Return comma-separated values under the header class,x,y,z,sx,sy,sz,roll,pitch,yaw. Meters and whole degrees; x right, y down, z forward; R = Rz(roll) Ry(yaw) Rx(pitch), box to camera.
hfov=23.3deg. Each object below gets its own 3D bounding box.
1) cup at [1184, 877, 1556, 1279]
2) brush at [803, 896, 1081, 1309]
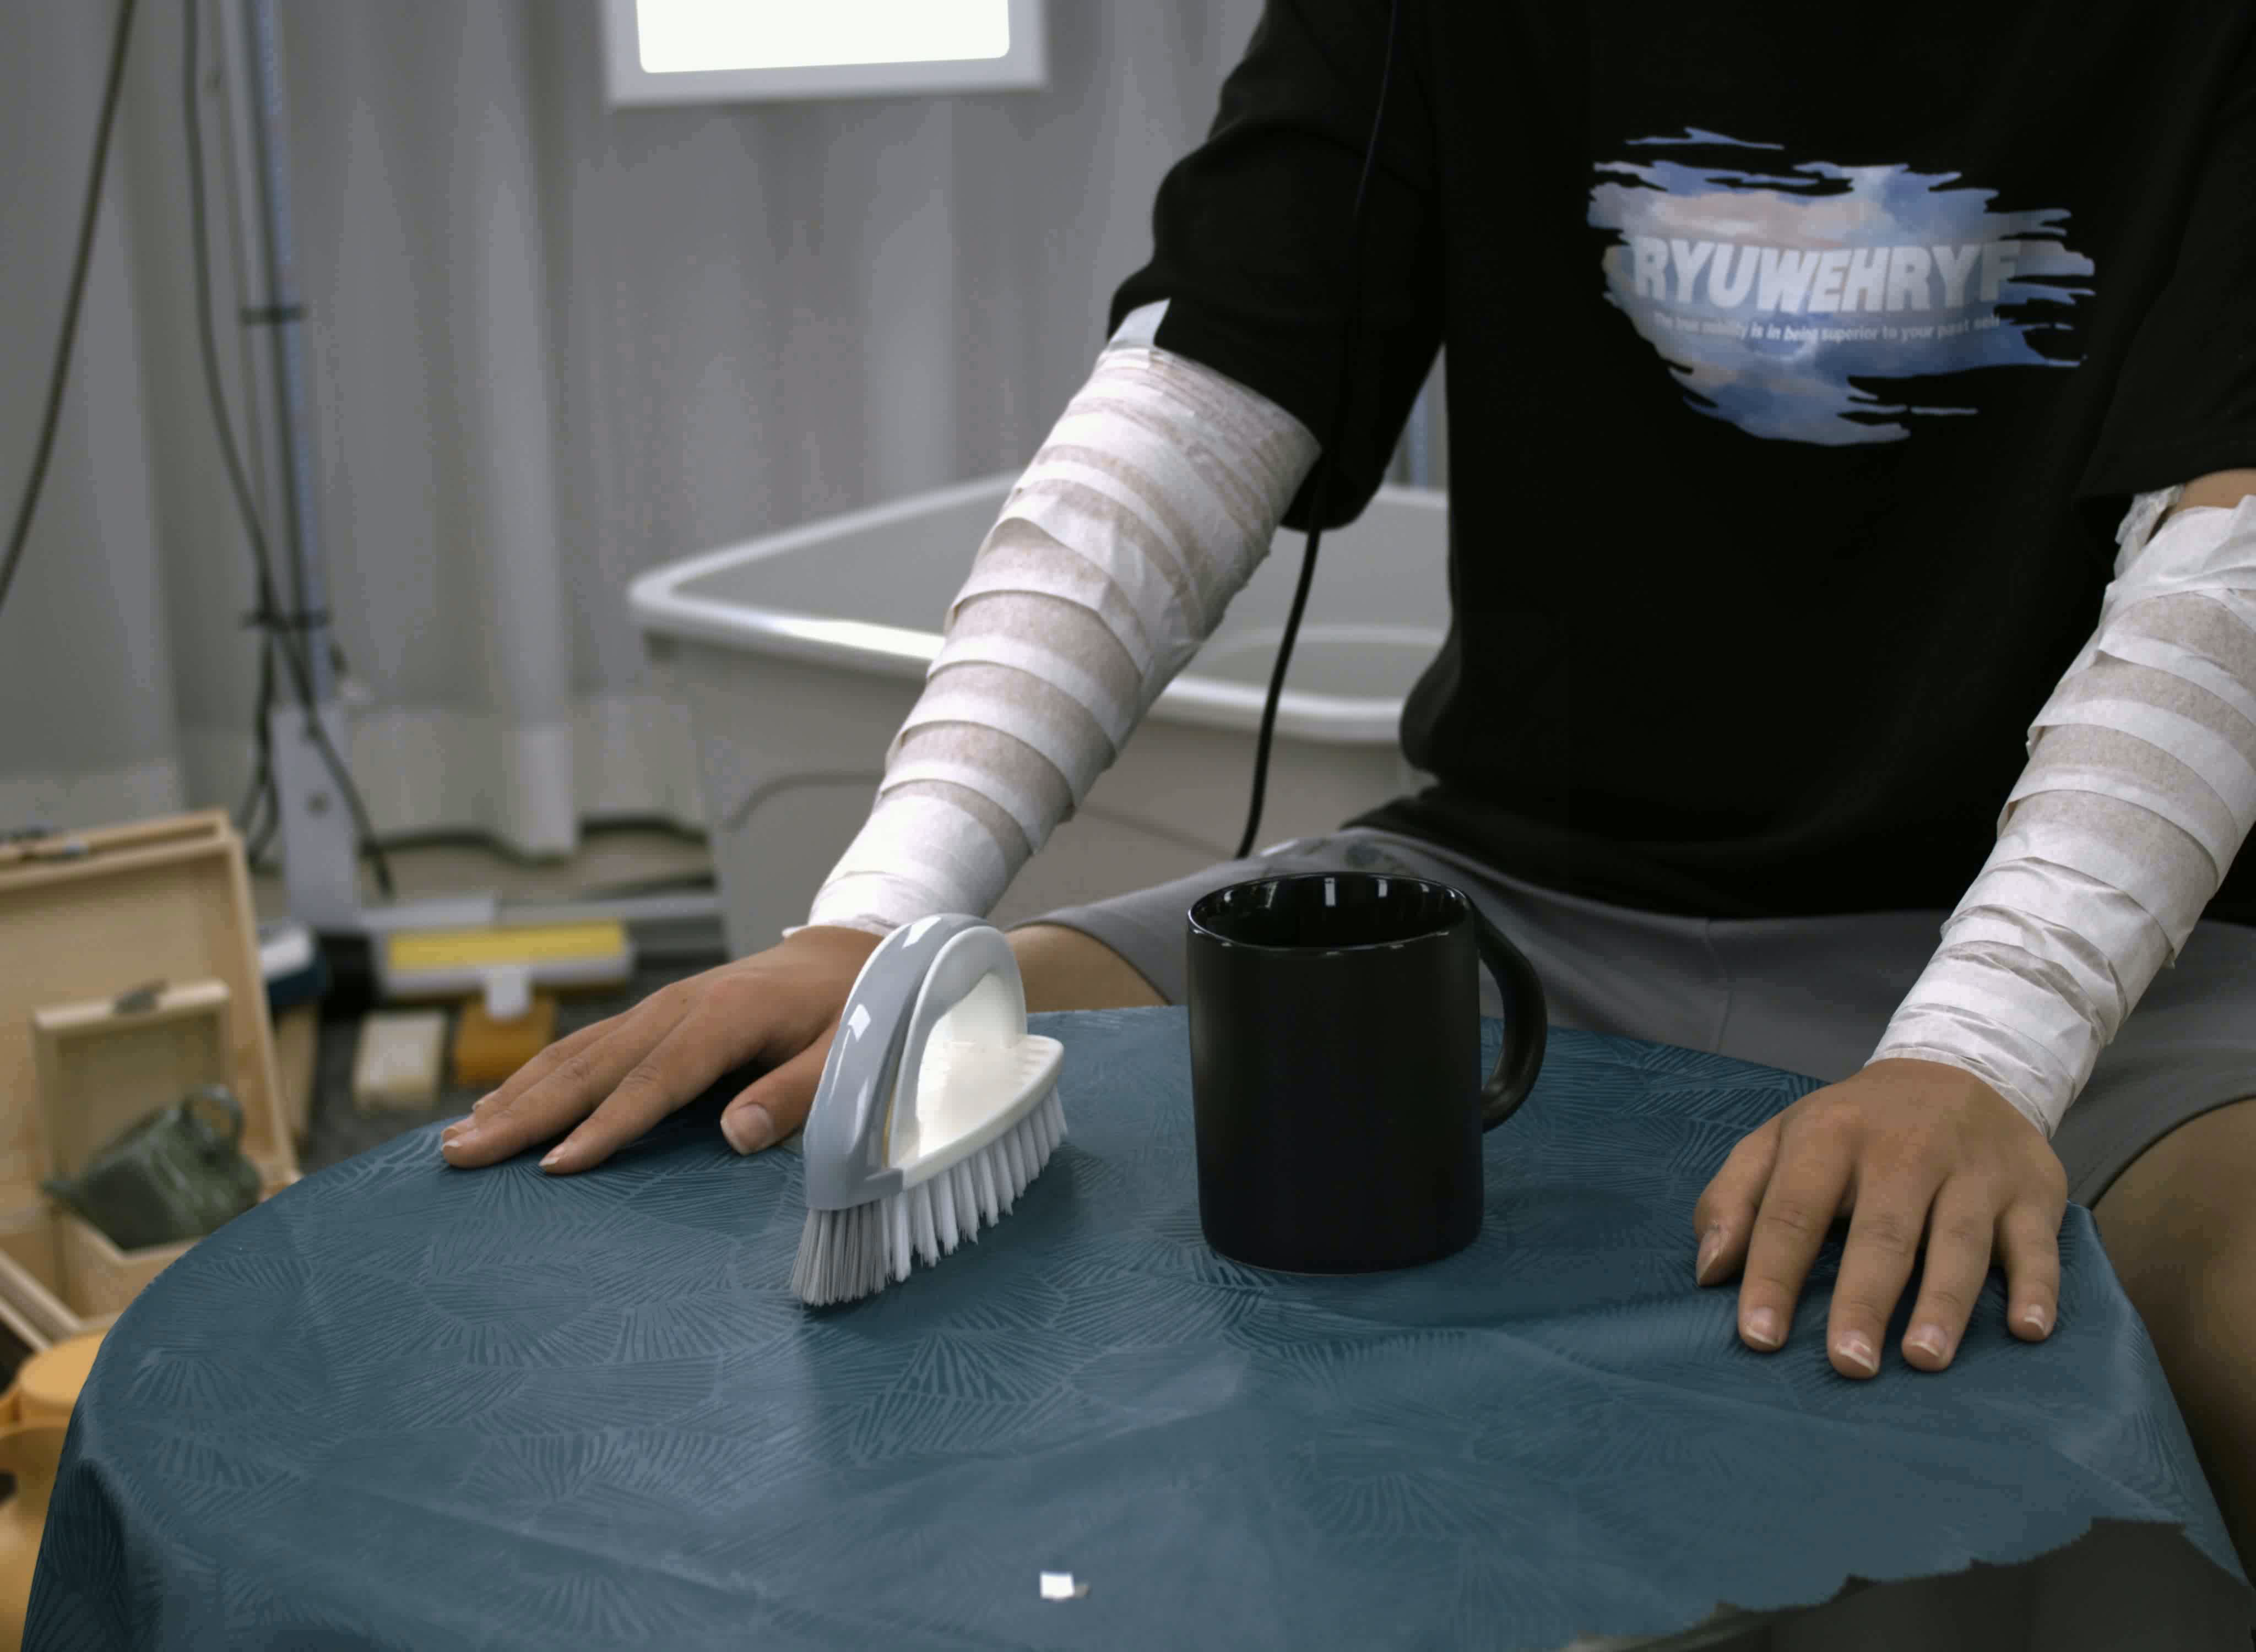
class,x,y,z,sx,sy,sz,roll,pitch,yaw
cup,0.078,0.072,1.663,0.123,0.105,0.089,-10,11,-32
brush,-0.066,0.079,1.683,0.061,0.094,0.176,0,17,18
